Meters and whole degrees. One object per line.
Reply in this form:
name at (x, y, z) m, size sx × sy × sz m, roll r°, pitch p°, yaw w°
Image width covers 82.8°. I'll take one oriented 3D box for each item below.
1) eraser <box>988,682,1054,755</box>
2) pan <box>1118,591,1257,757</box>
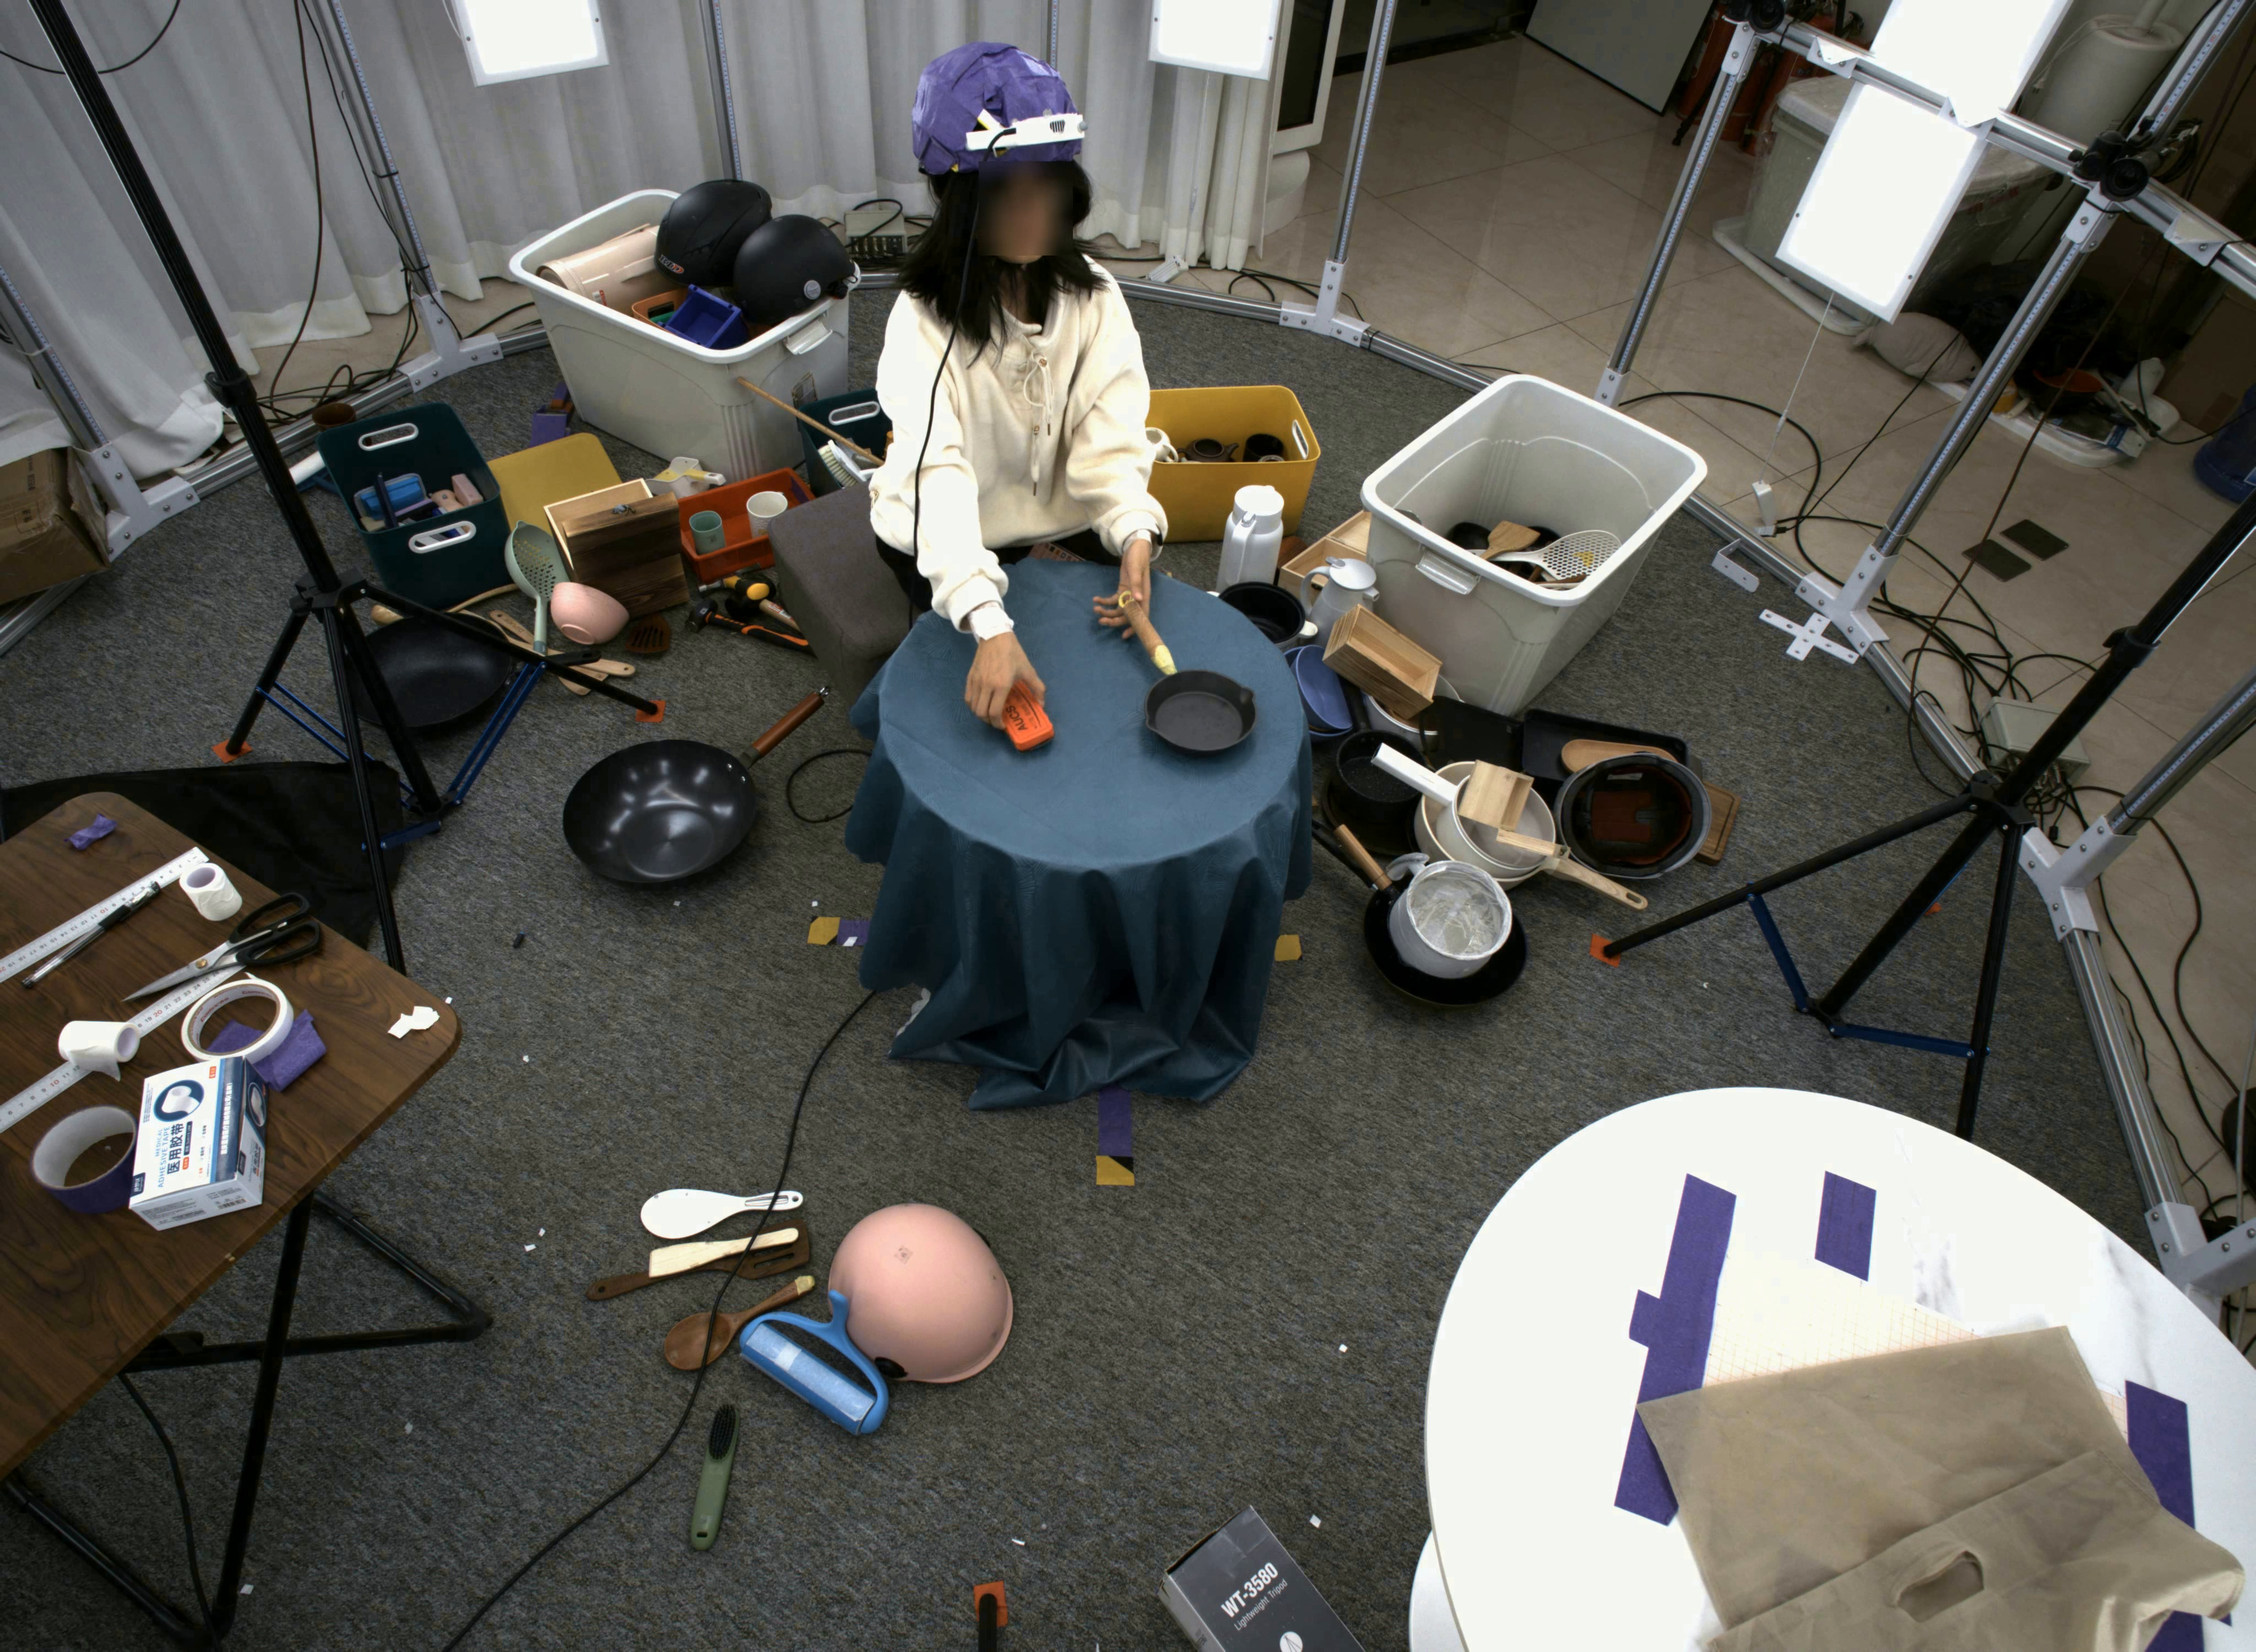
eraser at (-0.148, -0.150, 1.770) m, size 0.059 × 0.022 × 0.110 m, roll -23°, pitch 54°, yaw -13°
pan at (0.064, -0.220, 1.832) m, size 0.169 × 0.048 × 0.331 m, roll -18°, pitch 54°, yaw -18°
